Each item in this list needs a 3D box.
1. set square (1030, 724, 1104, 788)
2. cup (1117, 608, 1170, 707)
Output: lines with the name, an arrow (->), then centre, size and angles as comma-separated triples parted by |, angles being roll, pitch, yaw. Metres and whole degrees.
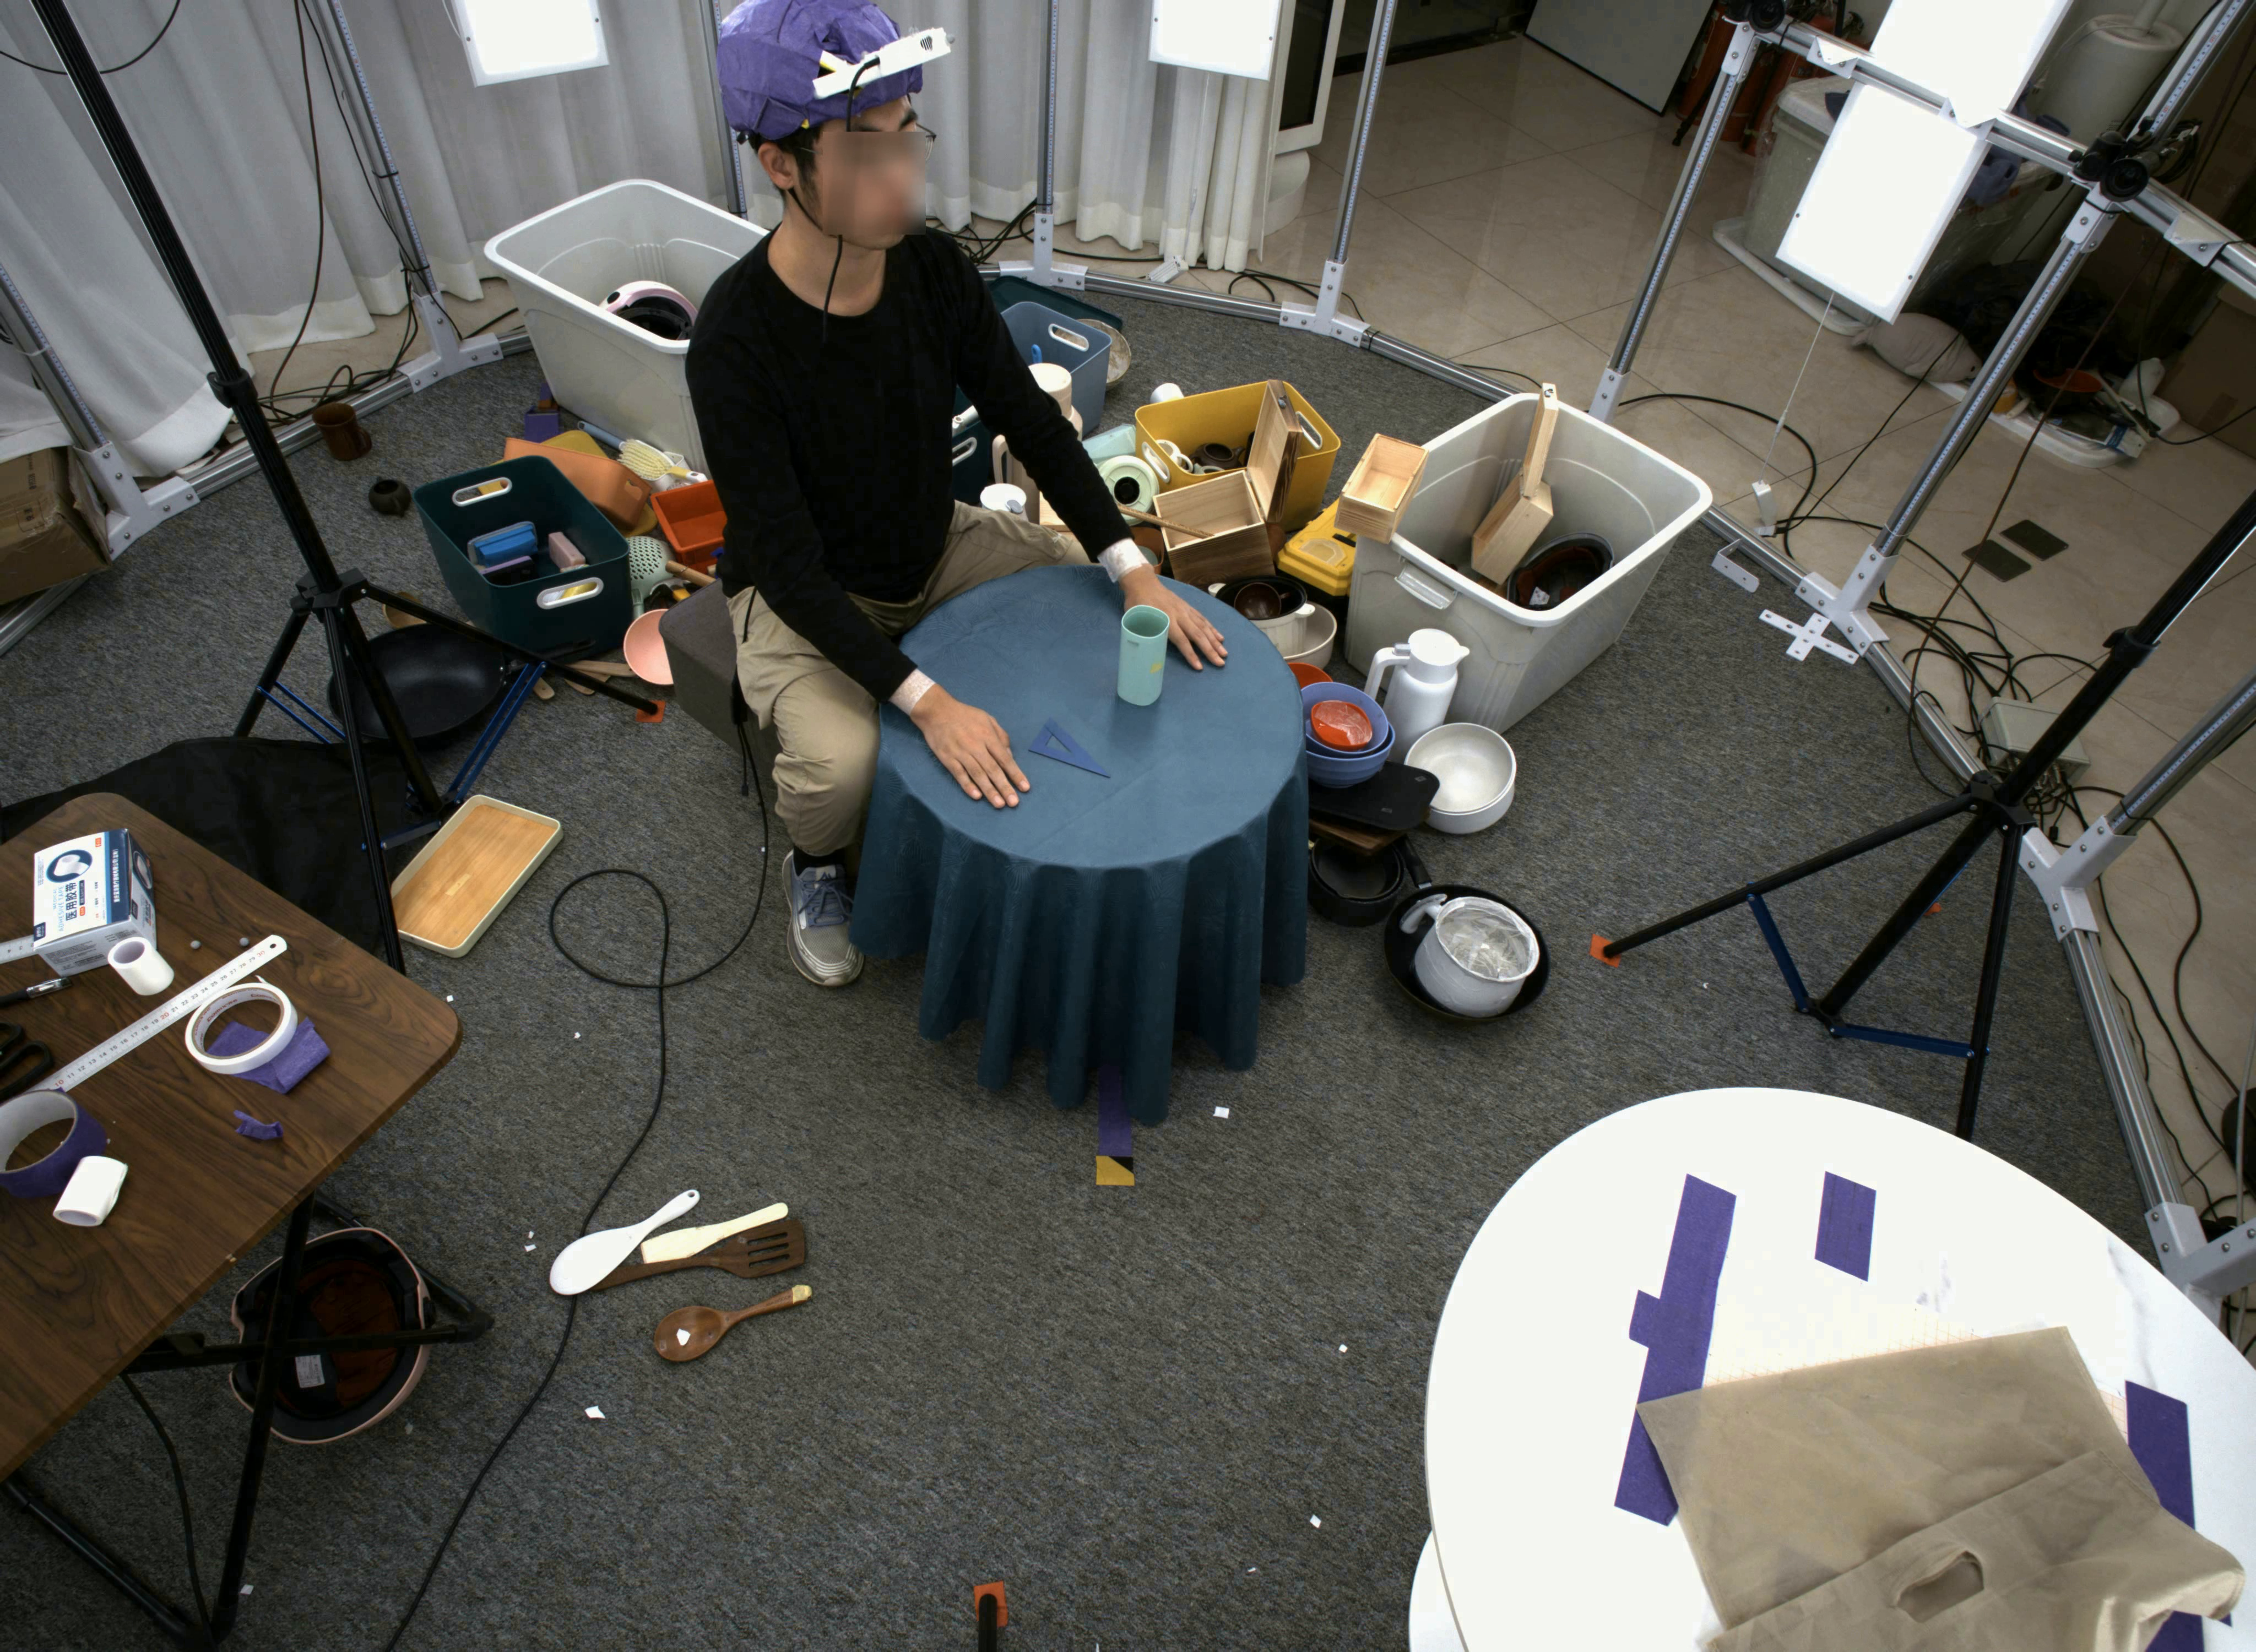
set square -> -0.089, -0.089, 1.738 | 0.061, 0.006, 0.134 | -24, 55, -24
cup -> 0.019, -0.236, 1.796 | 0.066, 0.129, 0.068 | 2, 50, -3
